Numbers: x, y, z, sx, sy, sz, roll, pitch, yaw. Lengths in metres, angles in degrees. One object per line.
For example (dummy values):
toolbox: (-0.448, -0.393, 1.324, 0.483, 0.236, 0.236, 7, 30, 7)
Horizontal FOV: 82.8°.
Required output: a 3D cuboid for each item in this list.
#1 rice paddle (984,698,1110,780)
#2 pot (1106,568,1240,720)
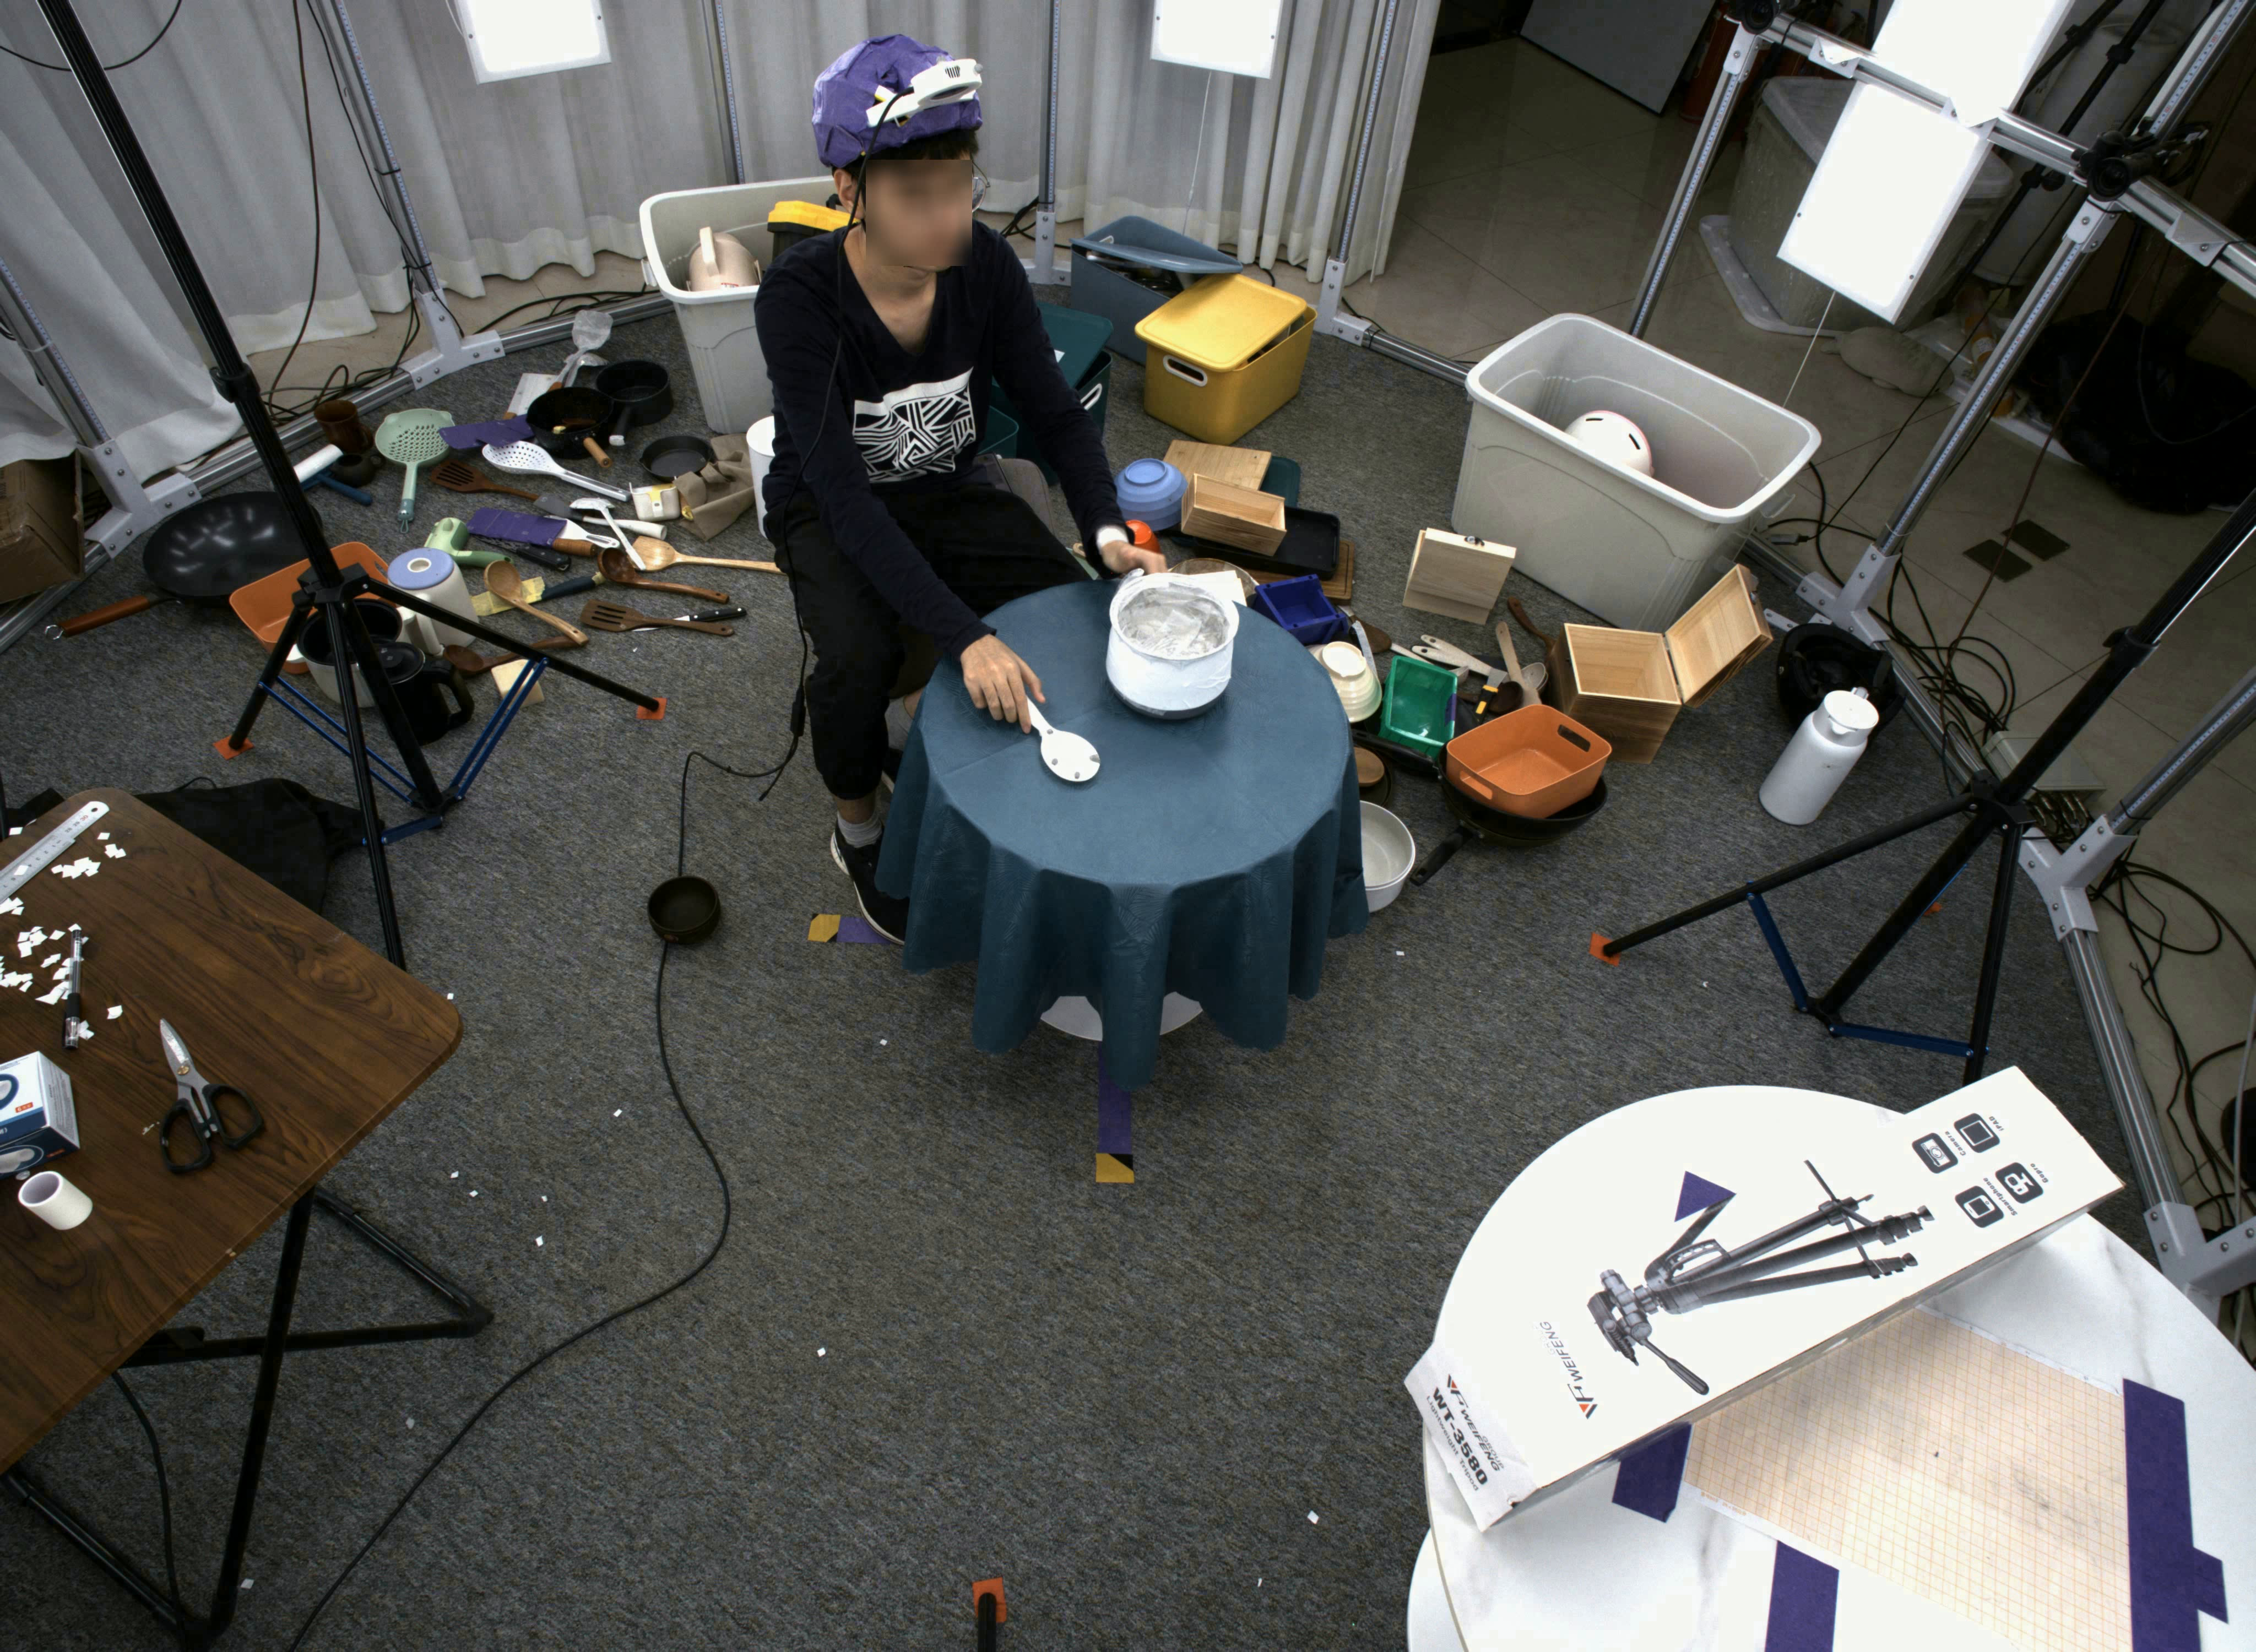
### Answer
rice paddle: (-0.110, -0.119, 1.746, 0.208, 0.029, 0.069, 31, 53, 25)
pot: (0.045, -0.267, 1.814, 0.179, 0.133, 0.238, -21, 54, -23)
